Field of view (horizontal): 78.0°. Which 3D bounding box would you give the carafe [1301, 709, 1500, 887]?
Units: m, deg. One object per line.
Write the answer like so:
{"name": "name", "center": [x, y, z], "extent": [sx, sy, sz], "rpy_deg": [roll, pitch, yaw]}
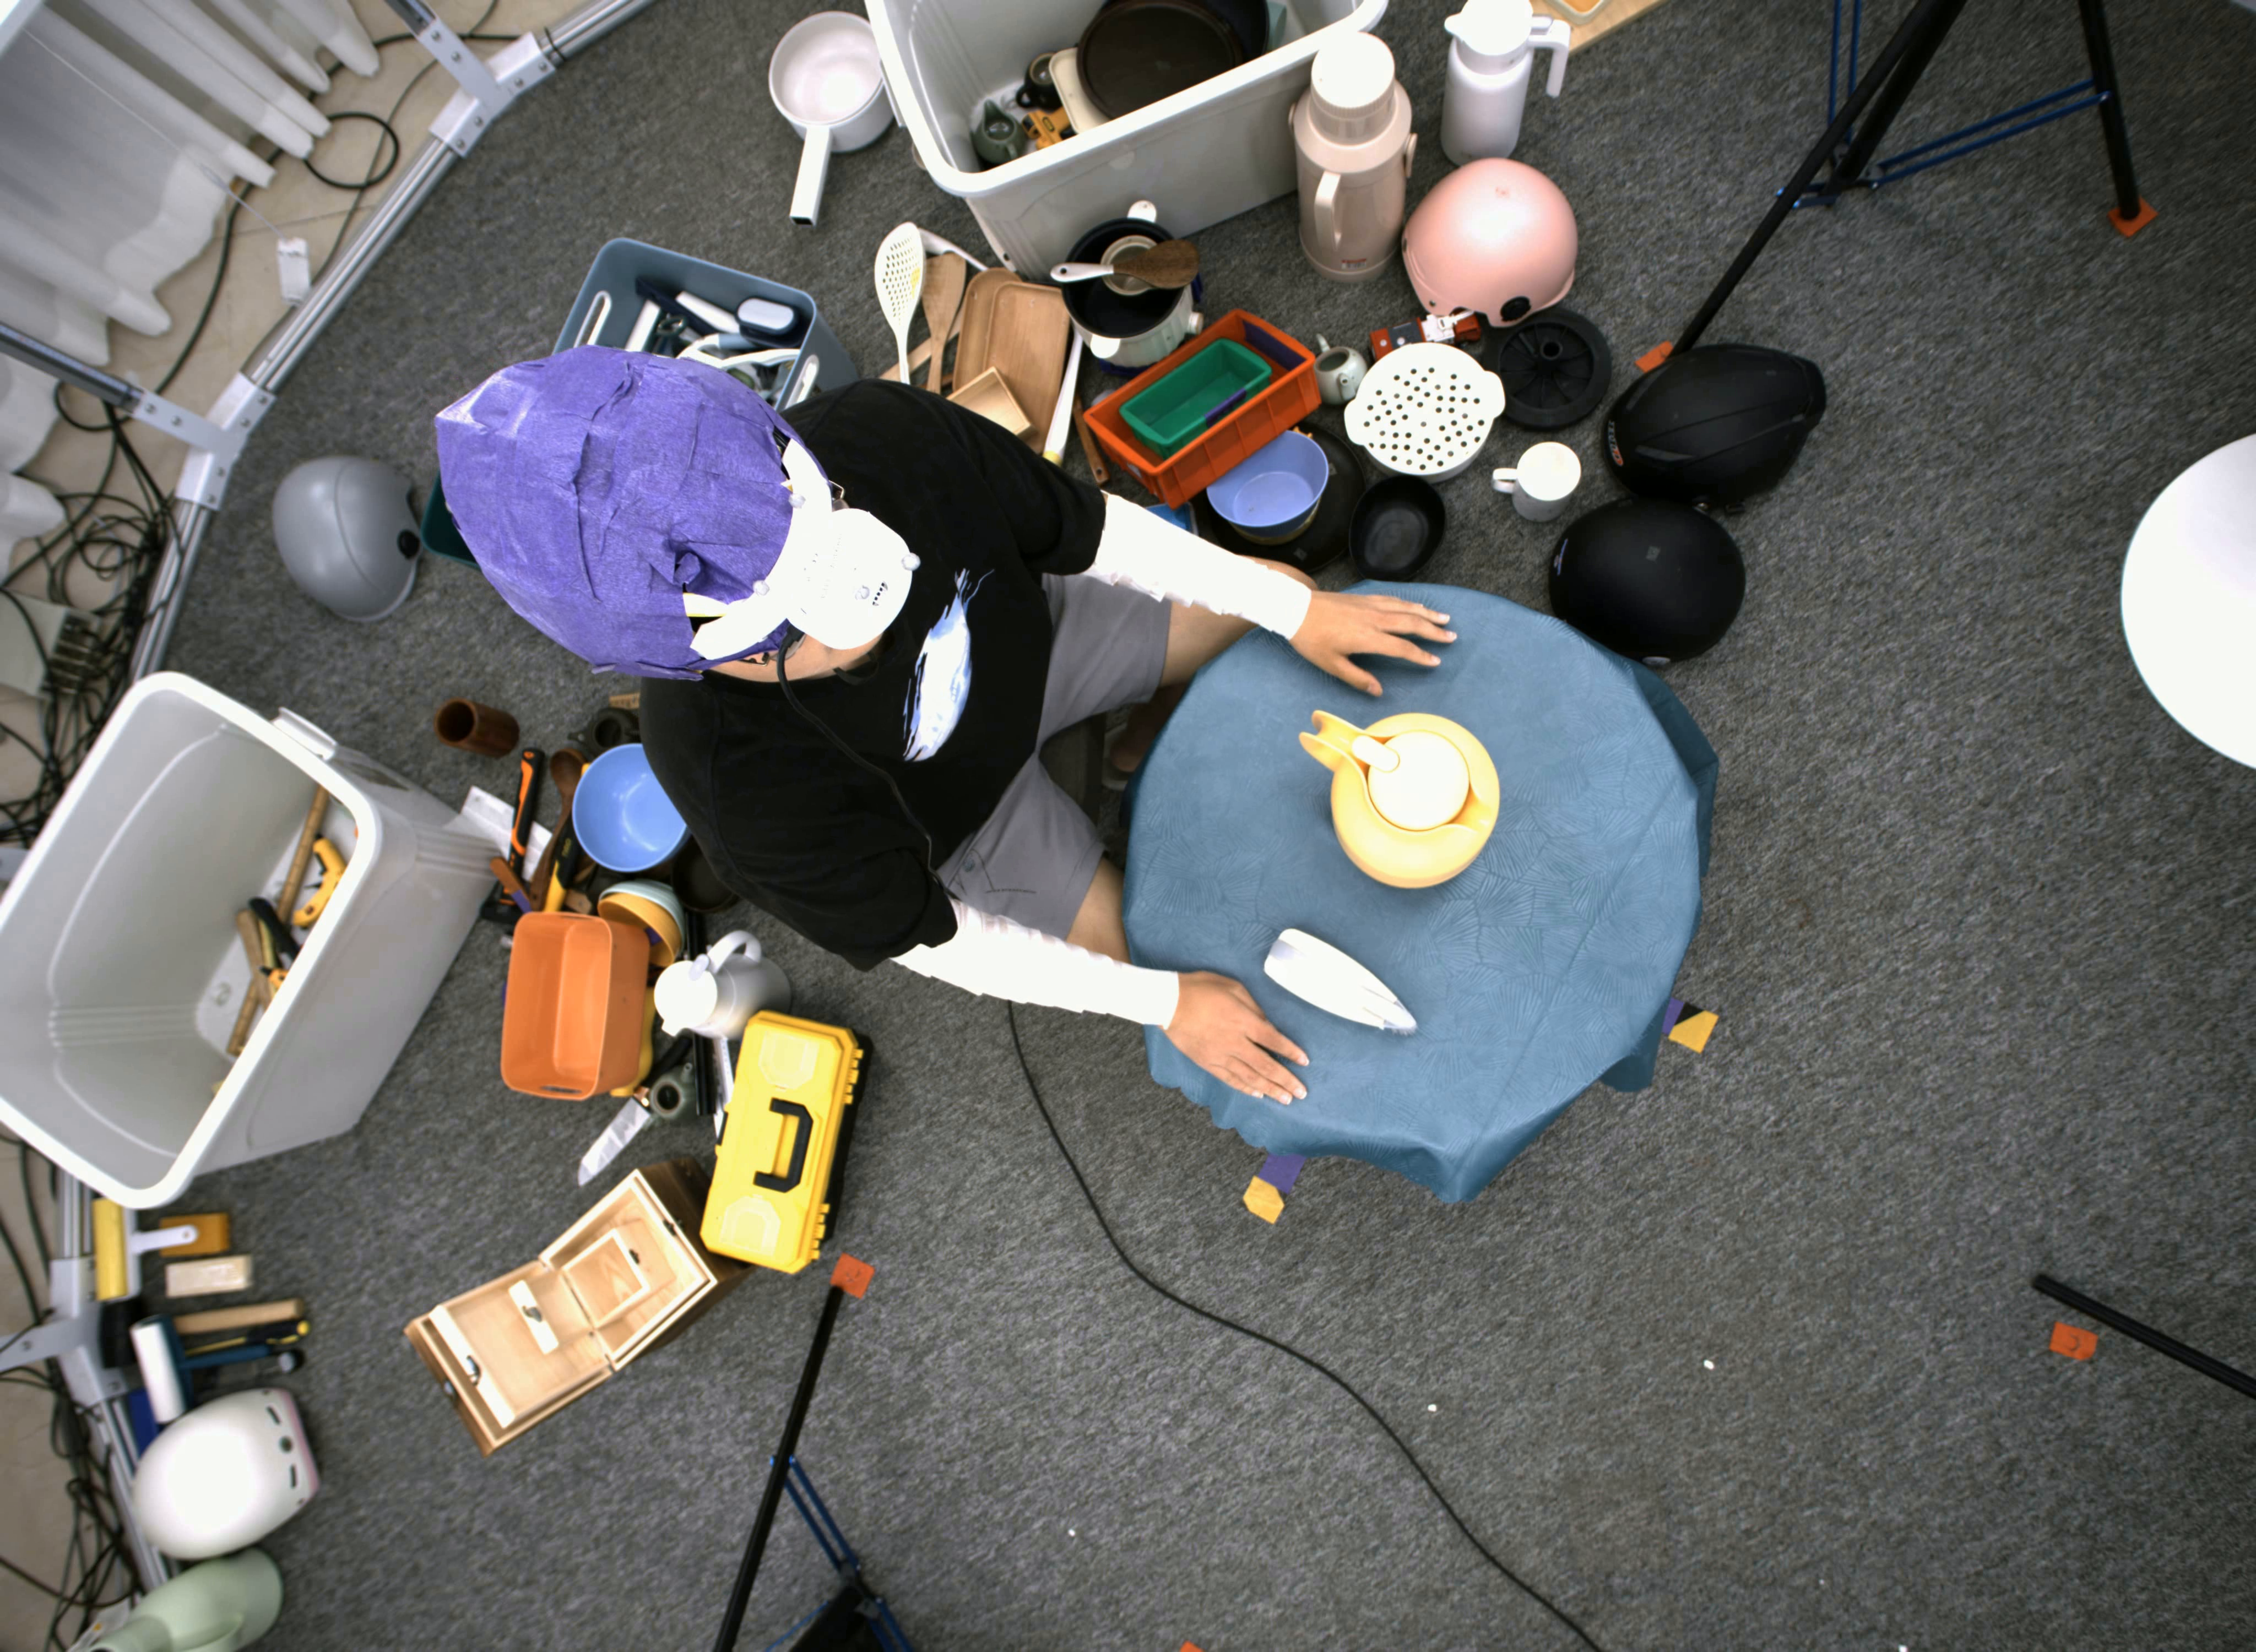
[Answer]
{"name": "carafe", "center": [0.261, -0.041, 1.335], "extent": [0.202, 0.261, 0.163], "rpy_deg": [35, 90, 10]}

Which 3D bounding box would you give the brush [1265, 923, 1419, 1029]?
{"name": "brush", "center": [0.221, 0.161, 1.417], "extent": [0.175, 0.094, 0.061], "rpy_deg": [29, 92, 10]}
